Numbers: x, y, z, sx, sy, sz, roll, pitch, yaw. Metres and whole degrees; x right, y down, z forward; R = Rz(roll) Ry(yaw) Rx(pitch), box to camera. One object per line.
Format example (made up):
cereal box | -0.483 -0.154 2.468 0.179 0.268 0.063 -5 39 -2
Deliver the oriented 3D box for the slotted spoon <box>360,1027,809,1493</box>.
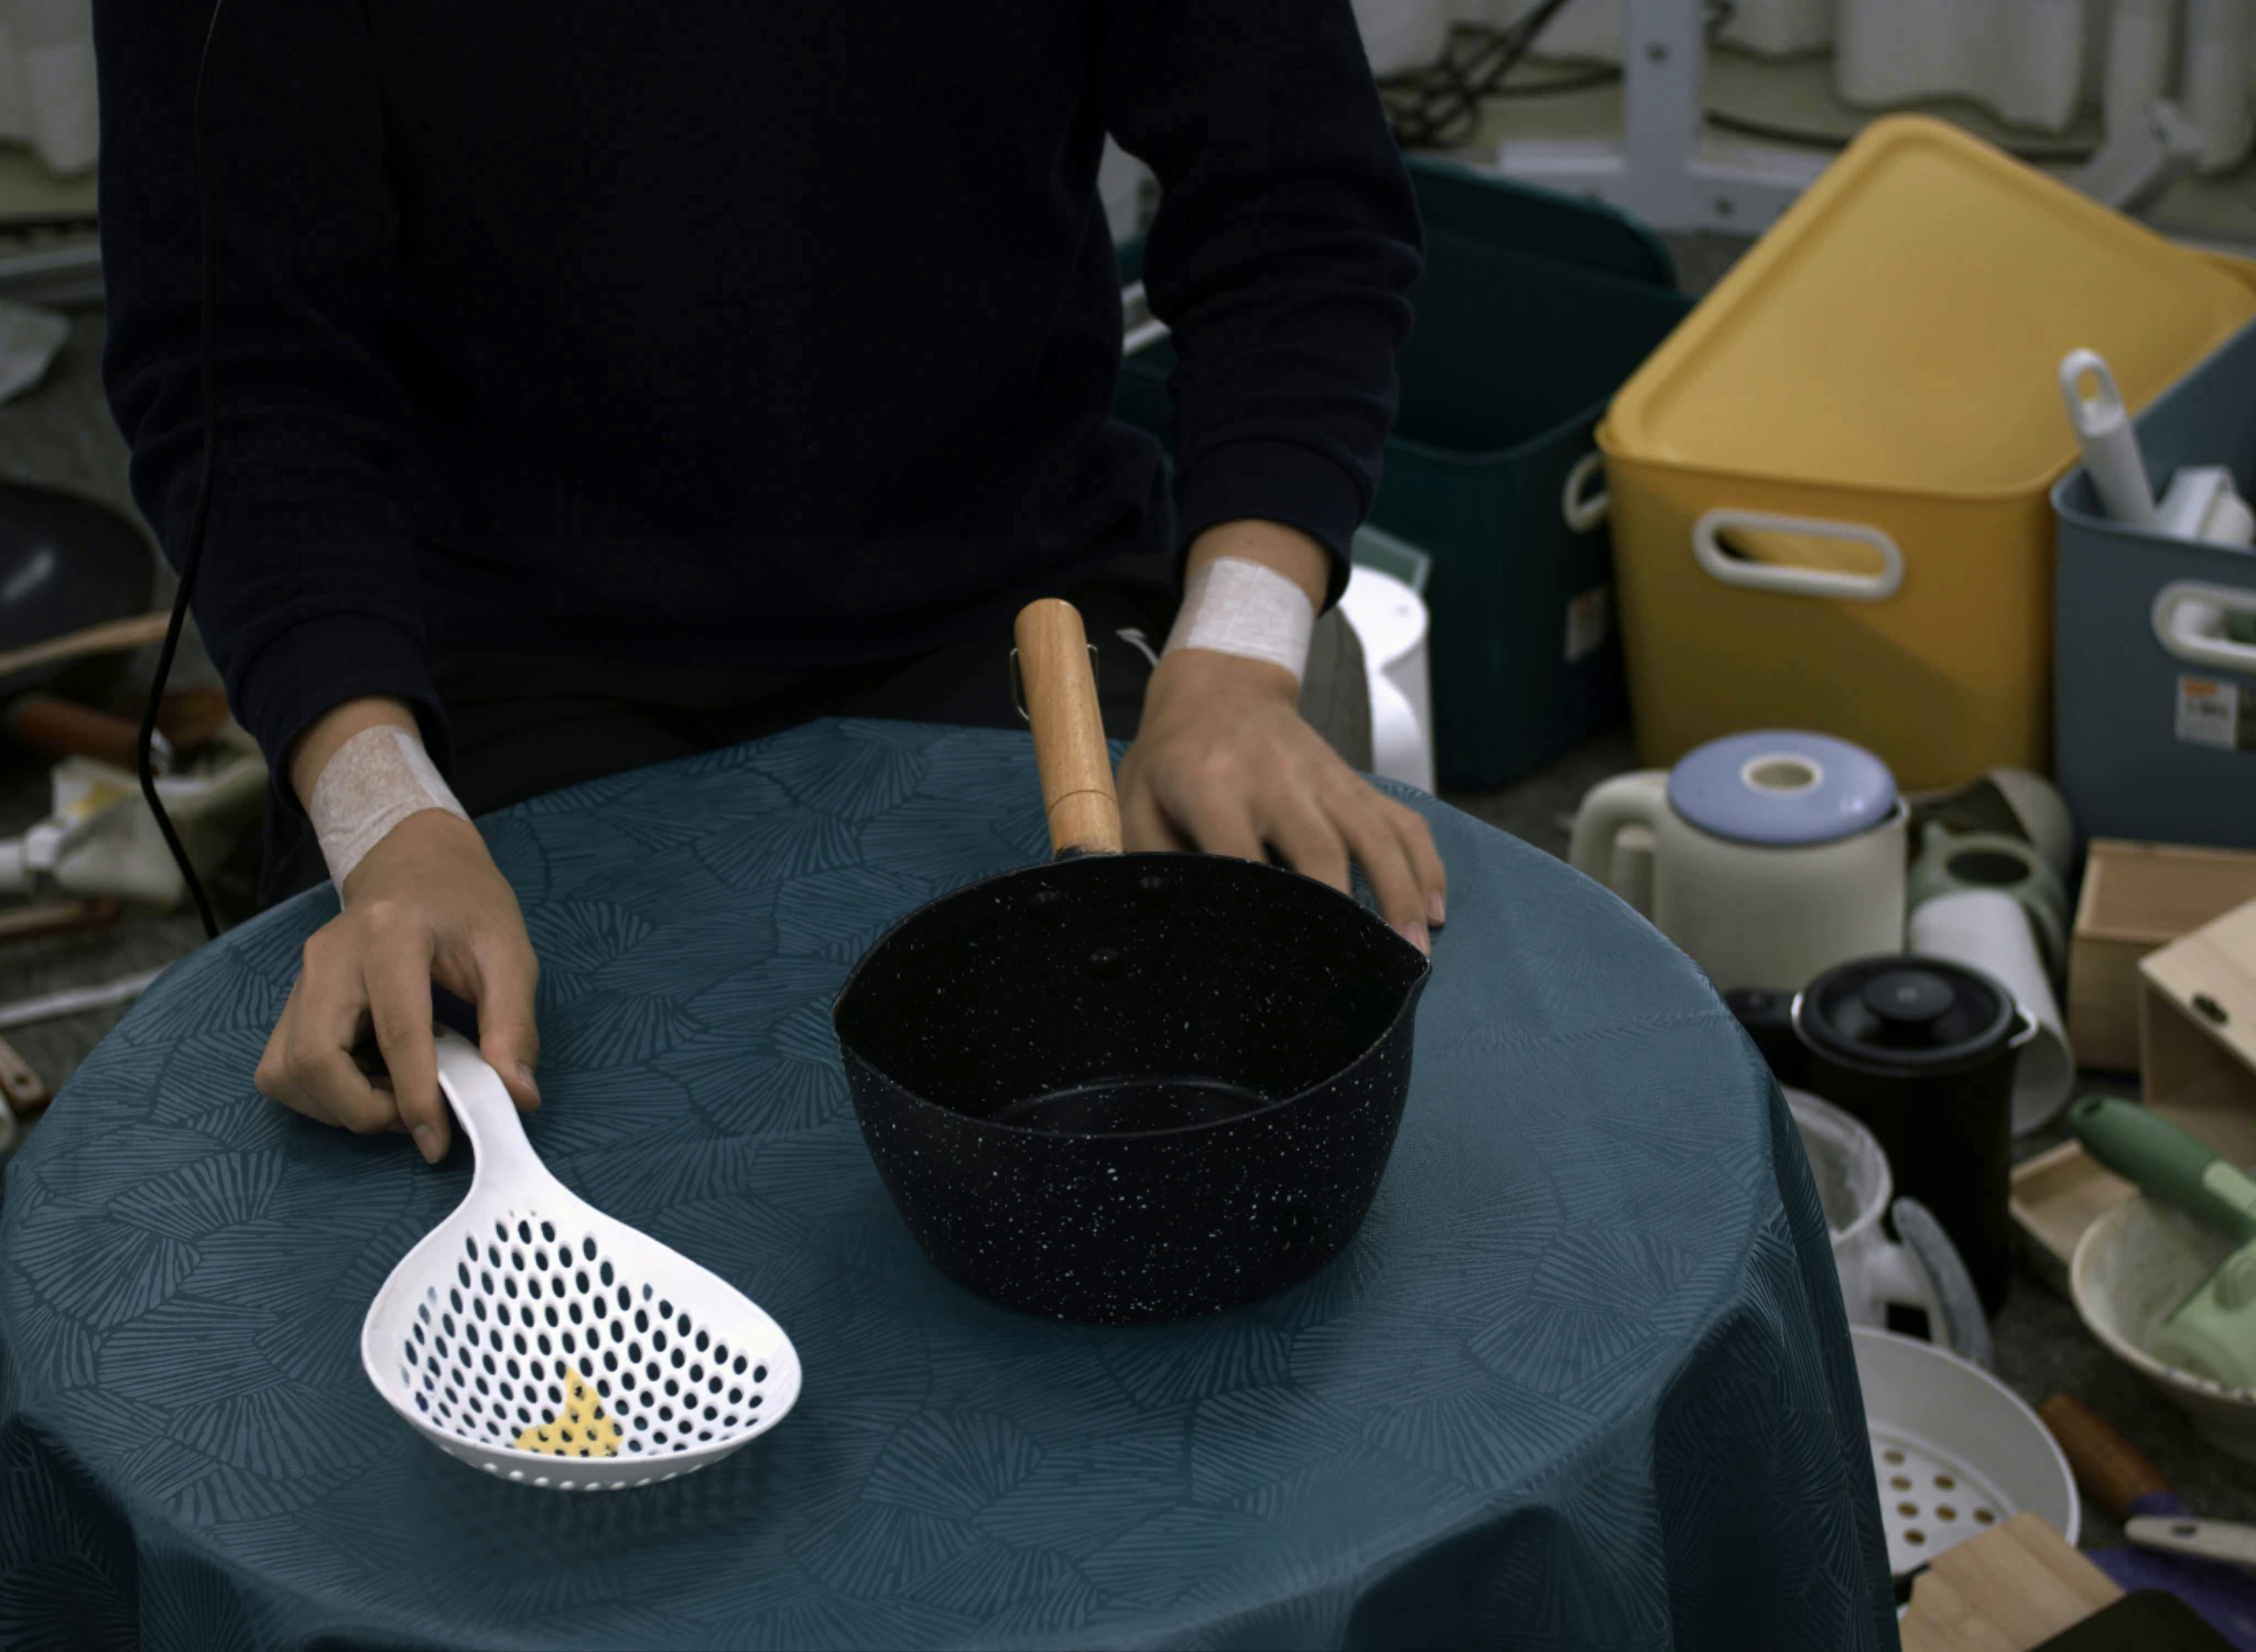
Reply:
slotted spoon | -0.201 0.129 1.821 0.137 0.050 0.351 -2 27 -18

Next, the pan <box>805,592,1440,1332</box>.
pan | -0.009 0.042 1.901 0.207 0.107 0.347 -7 29 -5
